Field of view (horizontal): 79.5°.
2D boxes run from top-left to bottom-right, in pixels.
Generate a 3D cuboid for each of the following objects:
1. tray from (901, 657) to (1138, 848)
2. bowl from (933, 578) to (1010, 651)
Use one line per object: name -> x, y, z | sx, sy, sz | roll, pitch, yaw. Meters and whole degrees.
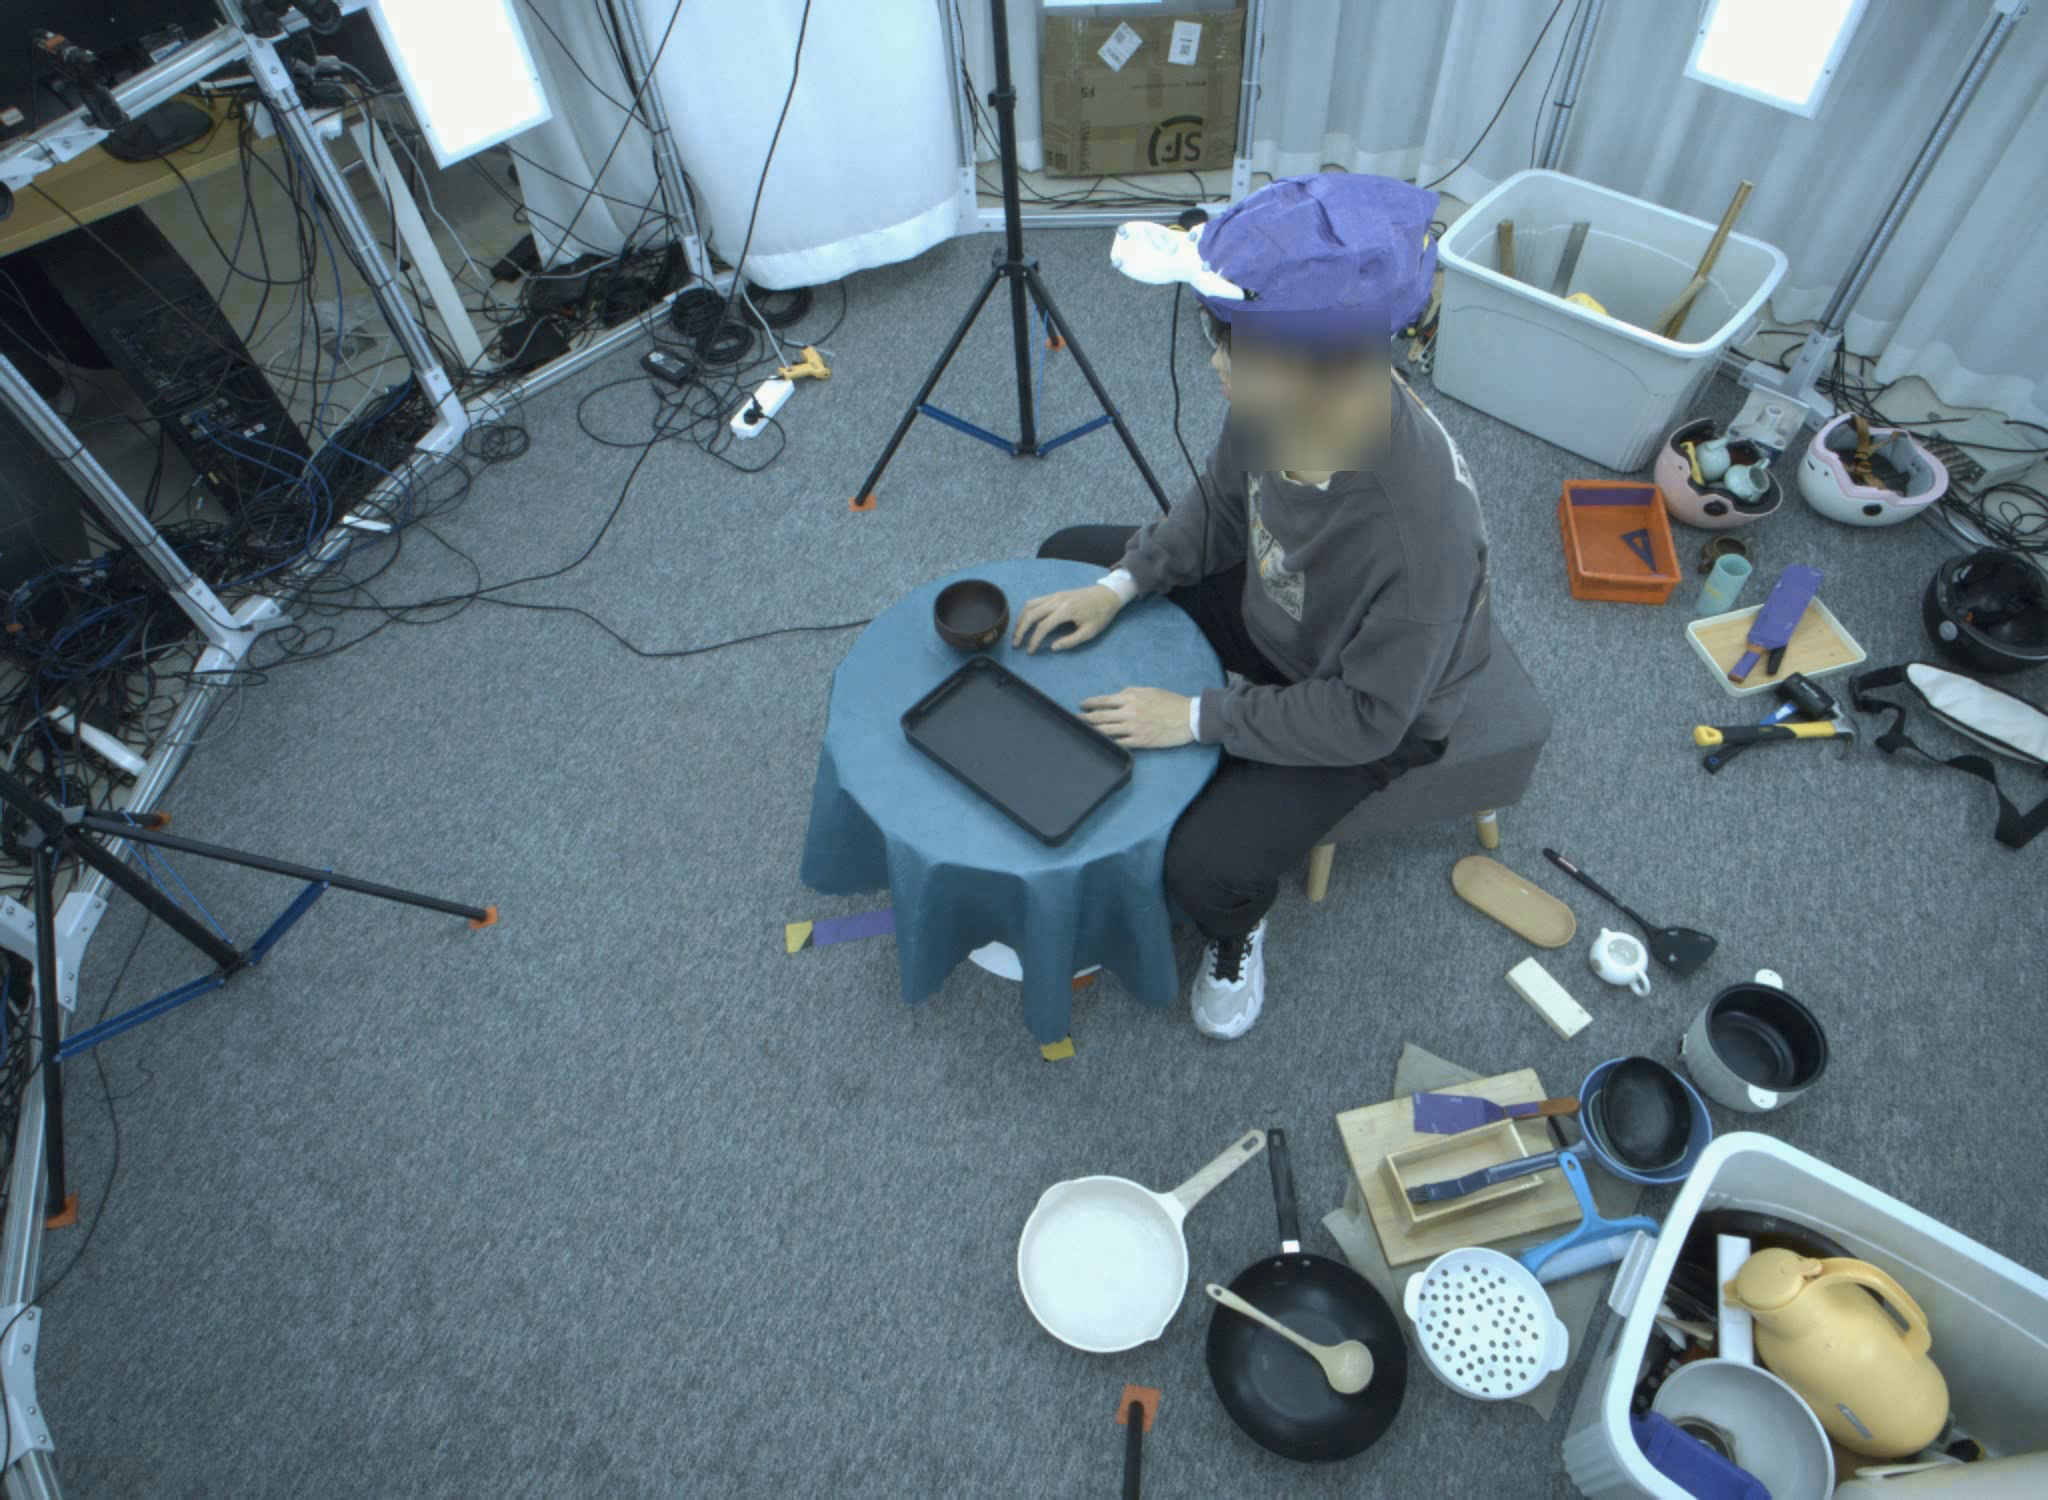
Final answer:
tray -> -0.008, -0.002, 1.765 | 0.312, 0.037, 0.185 | 34, 61, 24
bowl -> -0.080, -0.200, 1.887 | 0.118, 0.070, 0.117 | 0, 53, 1
